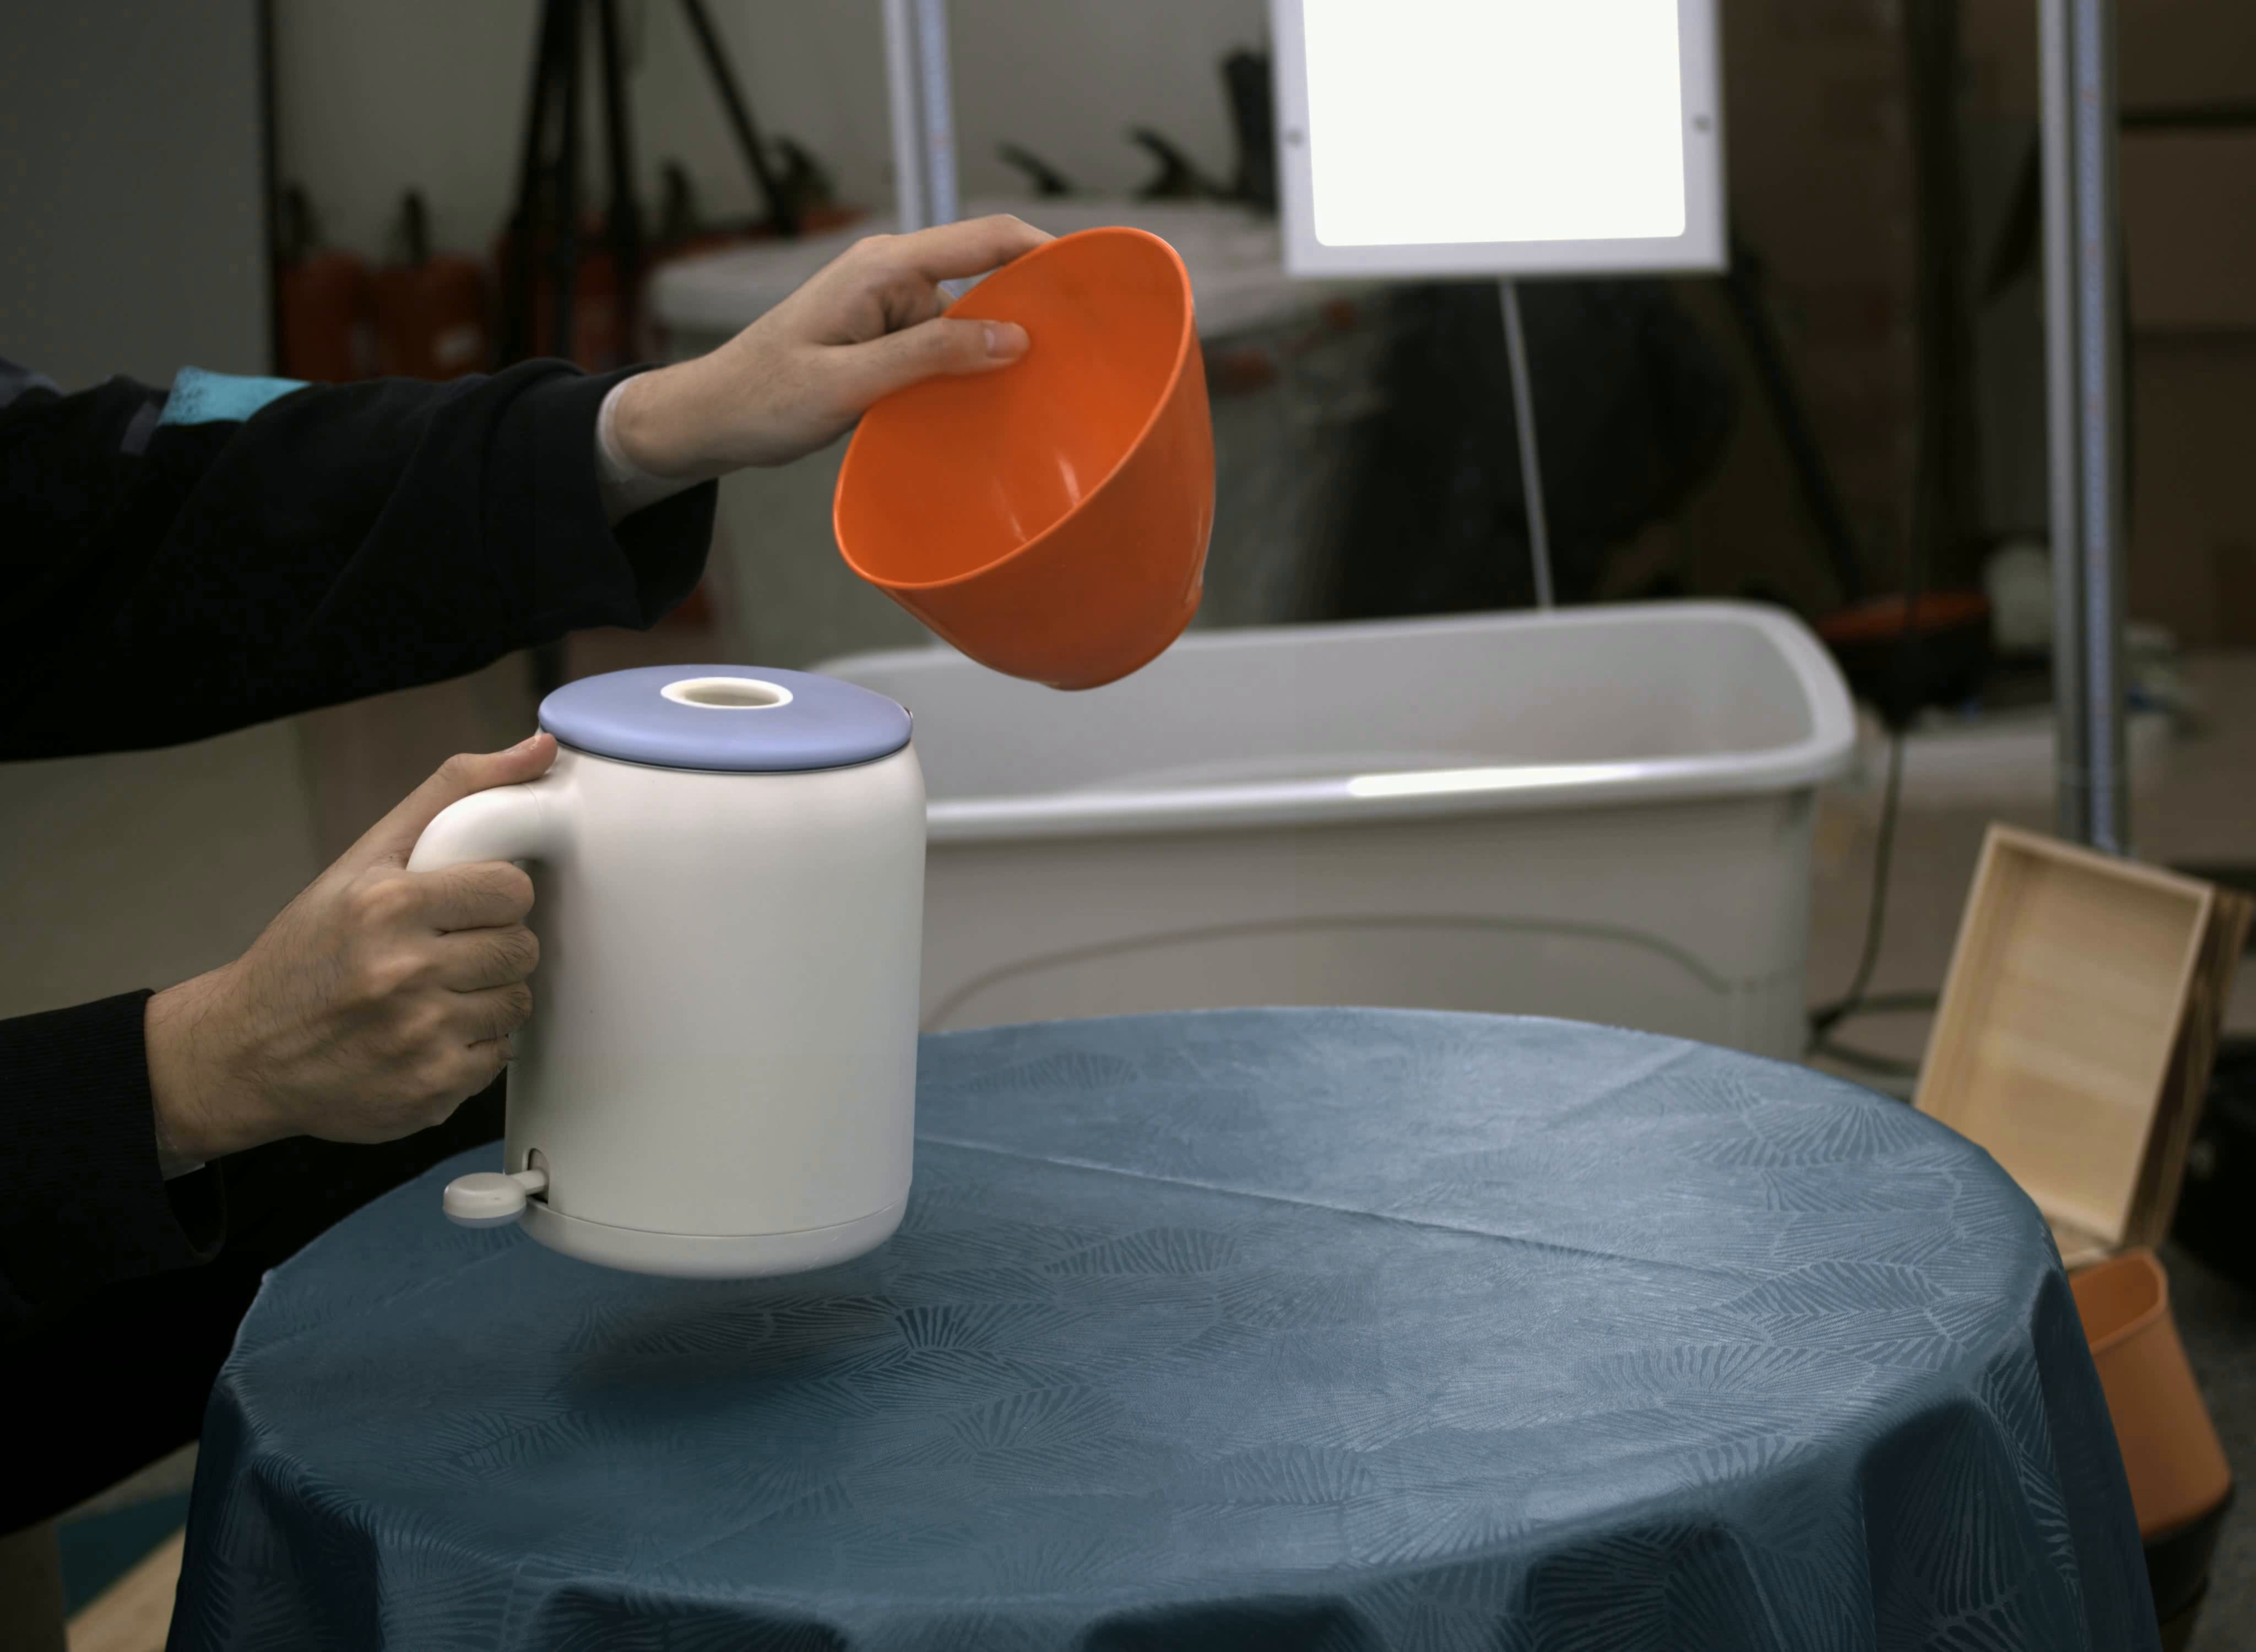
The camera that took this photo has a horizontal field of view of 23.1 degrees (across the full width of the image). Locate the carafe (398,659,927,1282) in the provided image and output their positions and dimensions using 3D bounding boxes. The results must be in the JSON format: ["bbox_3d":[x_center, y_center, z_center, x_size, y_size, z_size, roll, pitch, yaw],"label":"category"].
[{"bbox_3d":[-0.149,0.049,1.740,0.186,0.183,0.135,-11,19,-36],"label":"carafe"}]

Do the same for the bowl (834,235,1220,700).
[{"bbox_3d":[-0.018,-0.108,1.822,0.150,0.104,0.147,-24,34,16],"label":"bowl"}]
